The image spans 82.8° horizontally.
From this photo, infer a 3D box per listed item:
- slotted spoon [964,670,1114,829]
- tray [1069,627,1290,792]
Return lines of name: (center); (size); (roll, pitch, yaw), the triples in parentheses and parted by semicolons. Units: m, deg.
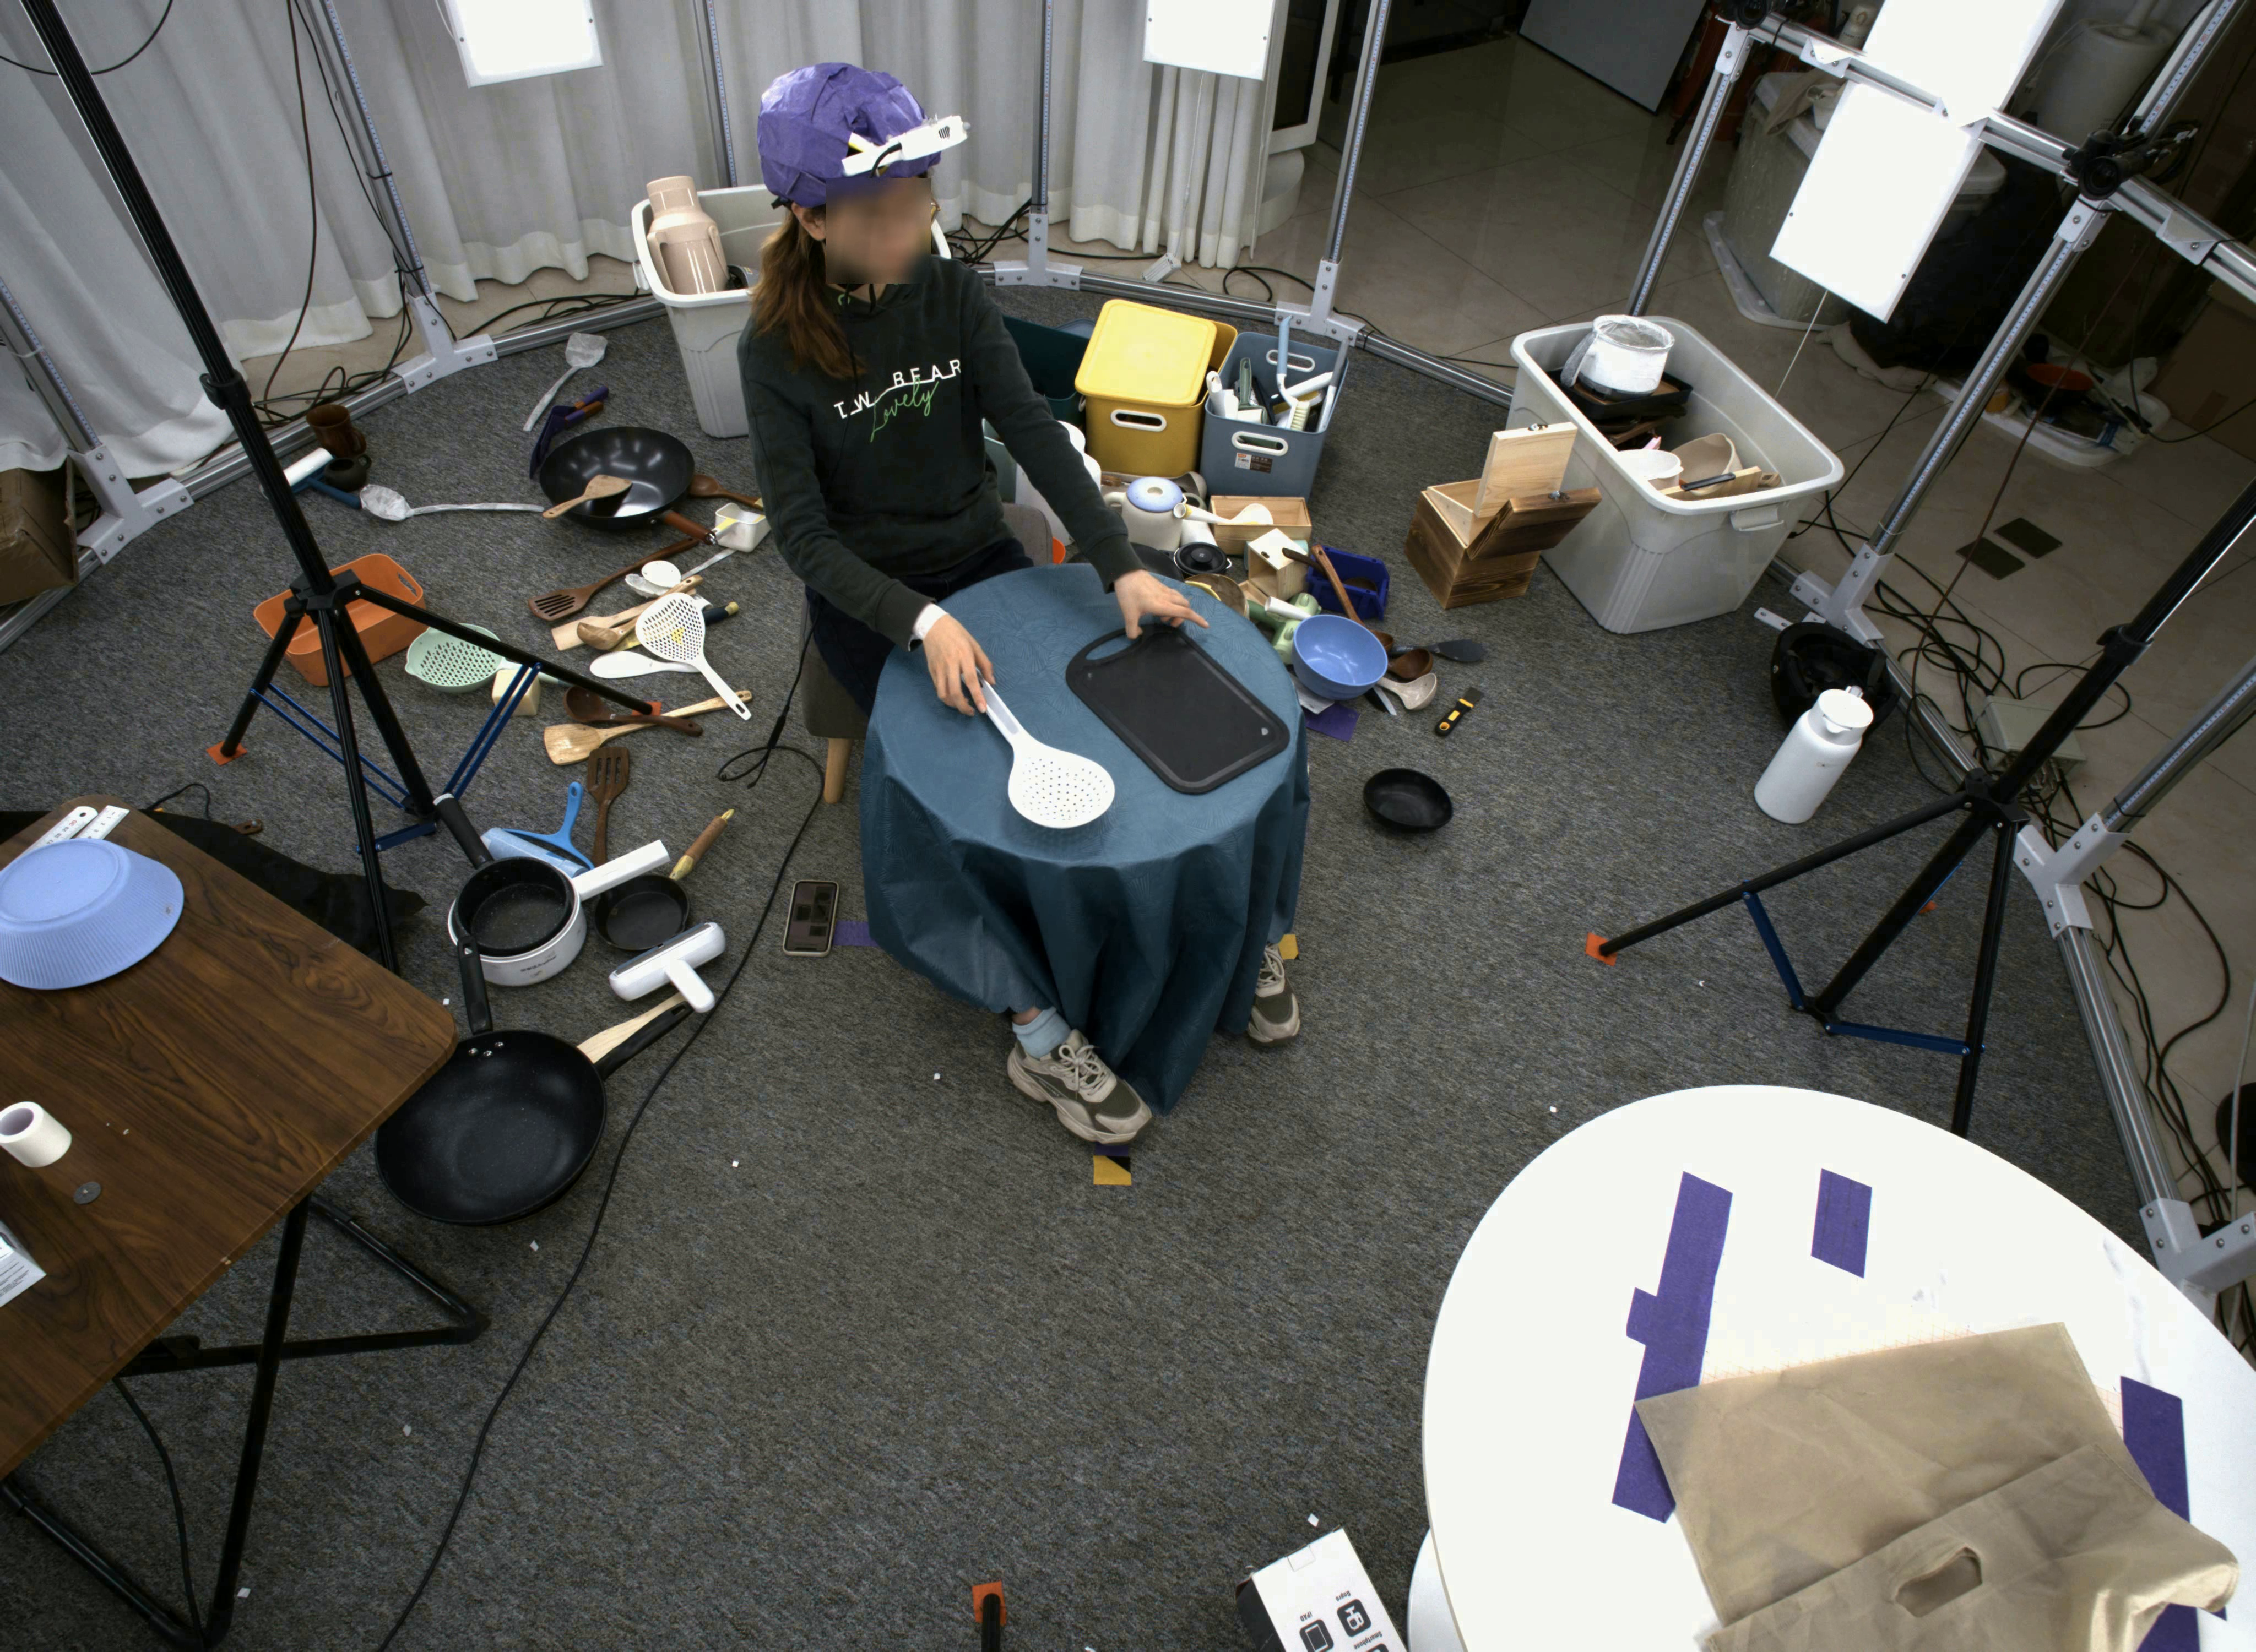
slotted spoon: (-0.140, -0.109, 1.740); (0.136, 0.044, 0.357); (-19, 52, -23)
tray: (0.065, -0.179, 1.840); (0.212, 0.009, 0.331); (-27, 55, -25)
